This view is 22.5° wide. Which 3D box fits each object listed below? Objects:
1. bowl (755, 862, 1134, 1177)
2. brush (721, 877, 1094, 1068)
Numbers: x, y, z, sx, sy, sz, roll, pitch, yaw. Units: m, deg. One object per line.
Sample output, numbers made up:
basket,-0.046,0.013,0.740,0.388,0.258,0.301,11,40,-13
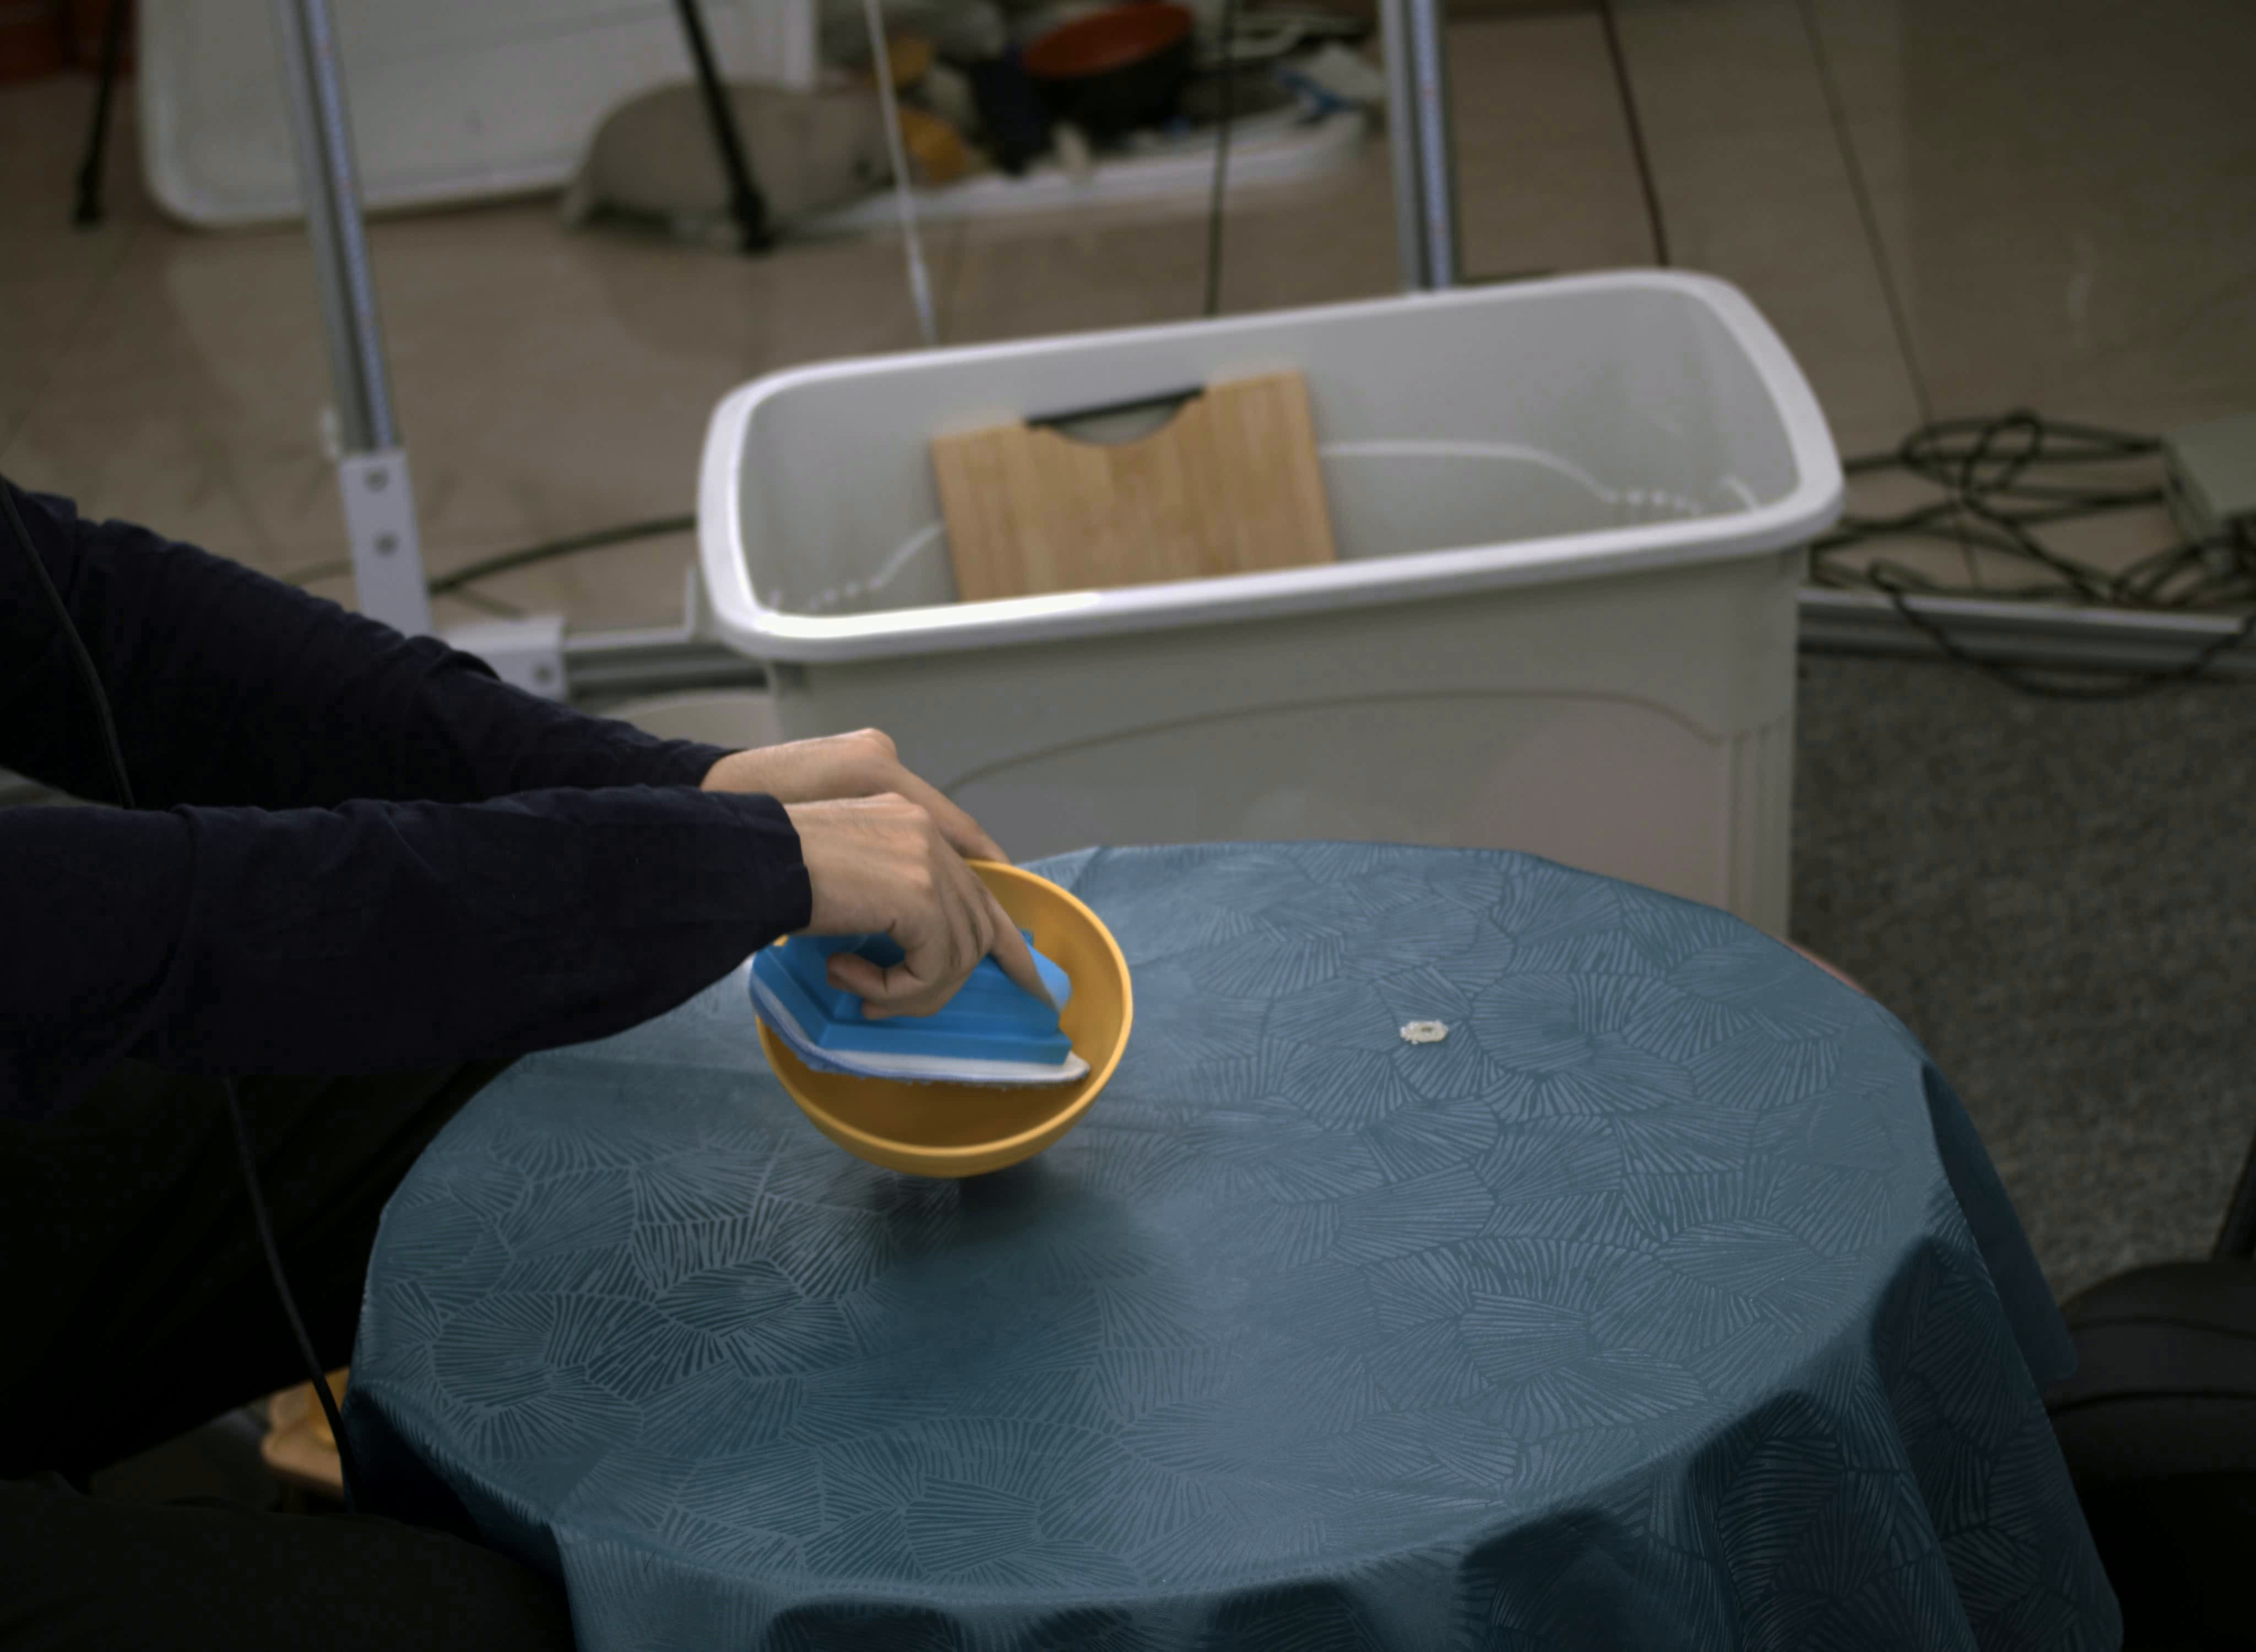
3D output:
bowl,-0.070,0.086,2.180,0.145,0.061,0.142,1,48,-1
brush,-0.079,0.054,2.144,0.144,0.056,0.082,9,23,-39
